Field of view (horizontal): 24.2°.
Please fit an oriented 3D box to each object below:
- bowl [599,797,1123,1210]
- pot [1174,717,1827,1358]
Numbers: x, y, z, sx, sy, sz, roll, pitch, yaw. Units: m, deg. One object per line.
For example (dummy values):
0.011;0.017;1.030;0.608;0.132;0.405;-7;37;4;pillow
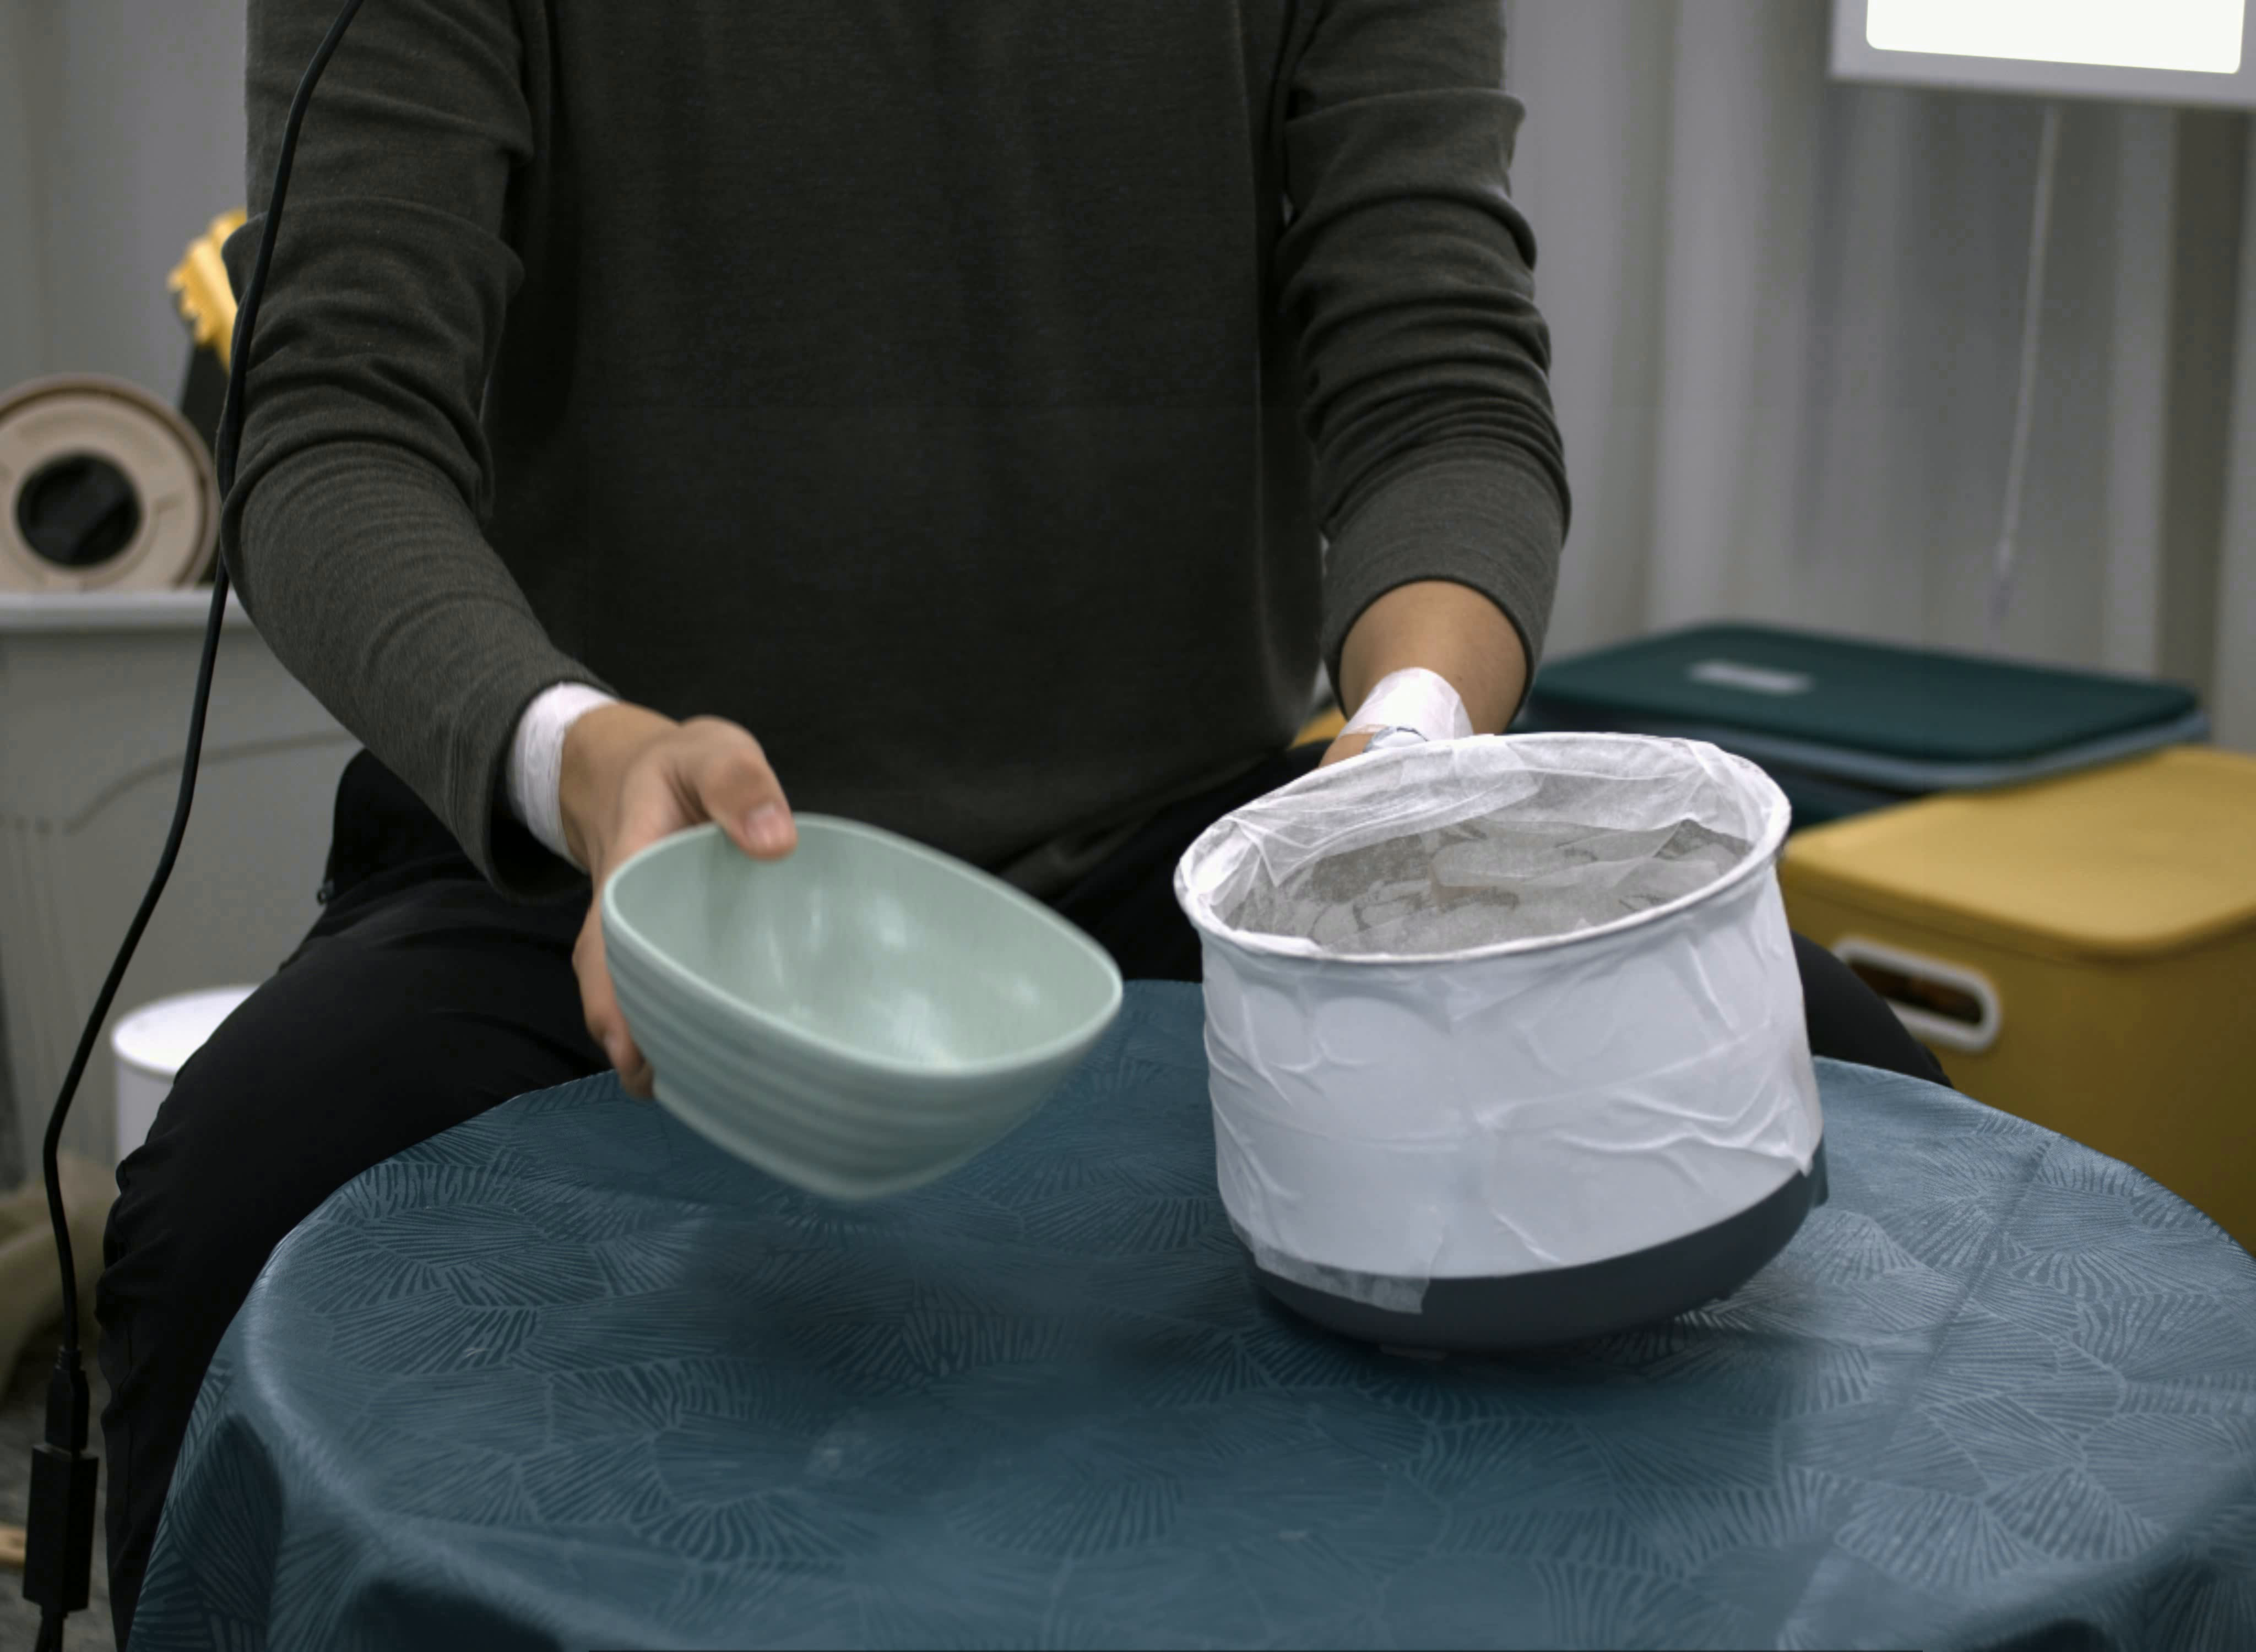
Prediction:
-0.081;0.056;1.474;0.151;0.059;0.150;16;28;-8;bowl
0.103;0.053;1.541;0.178;0.138;0.231;-11;20;-10;pot
